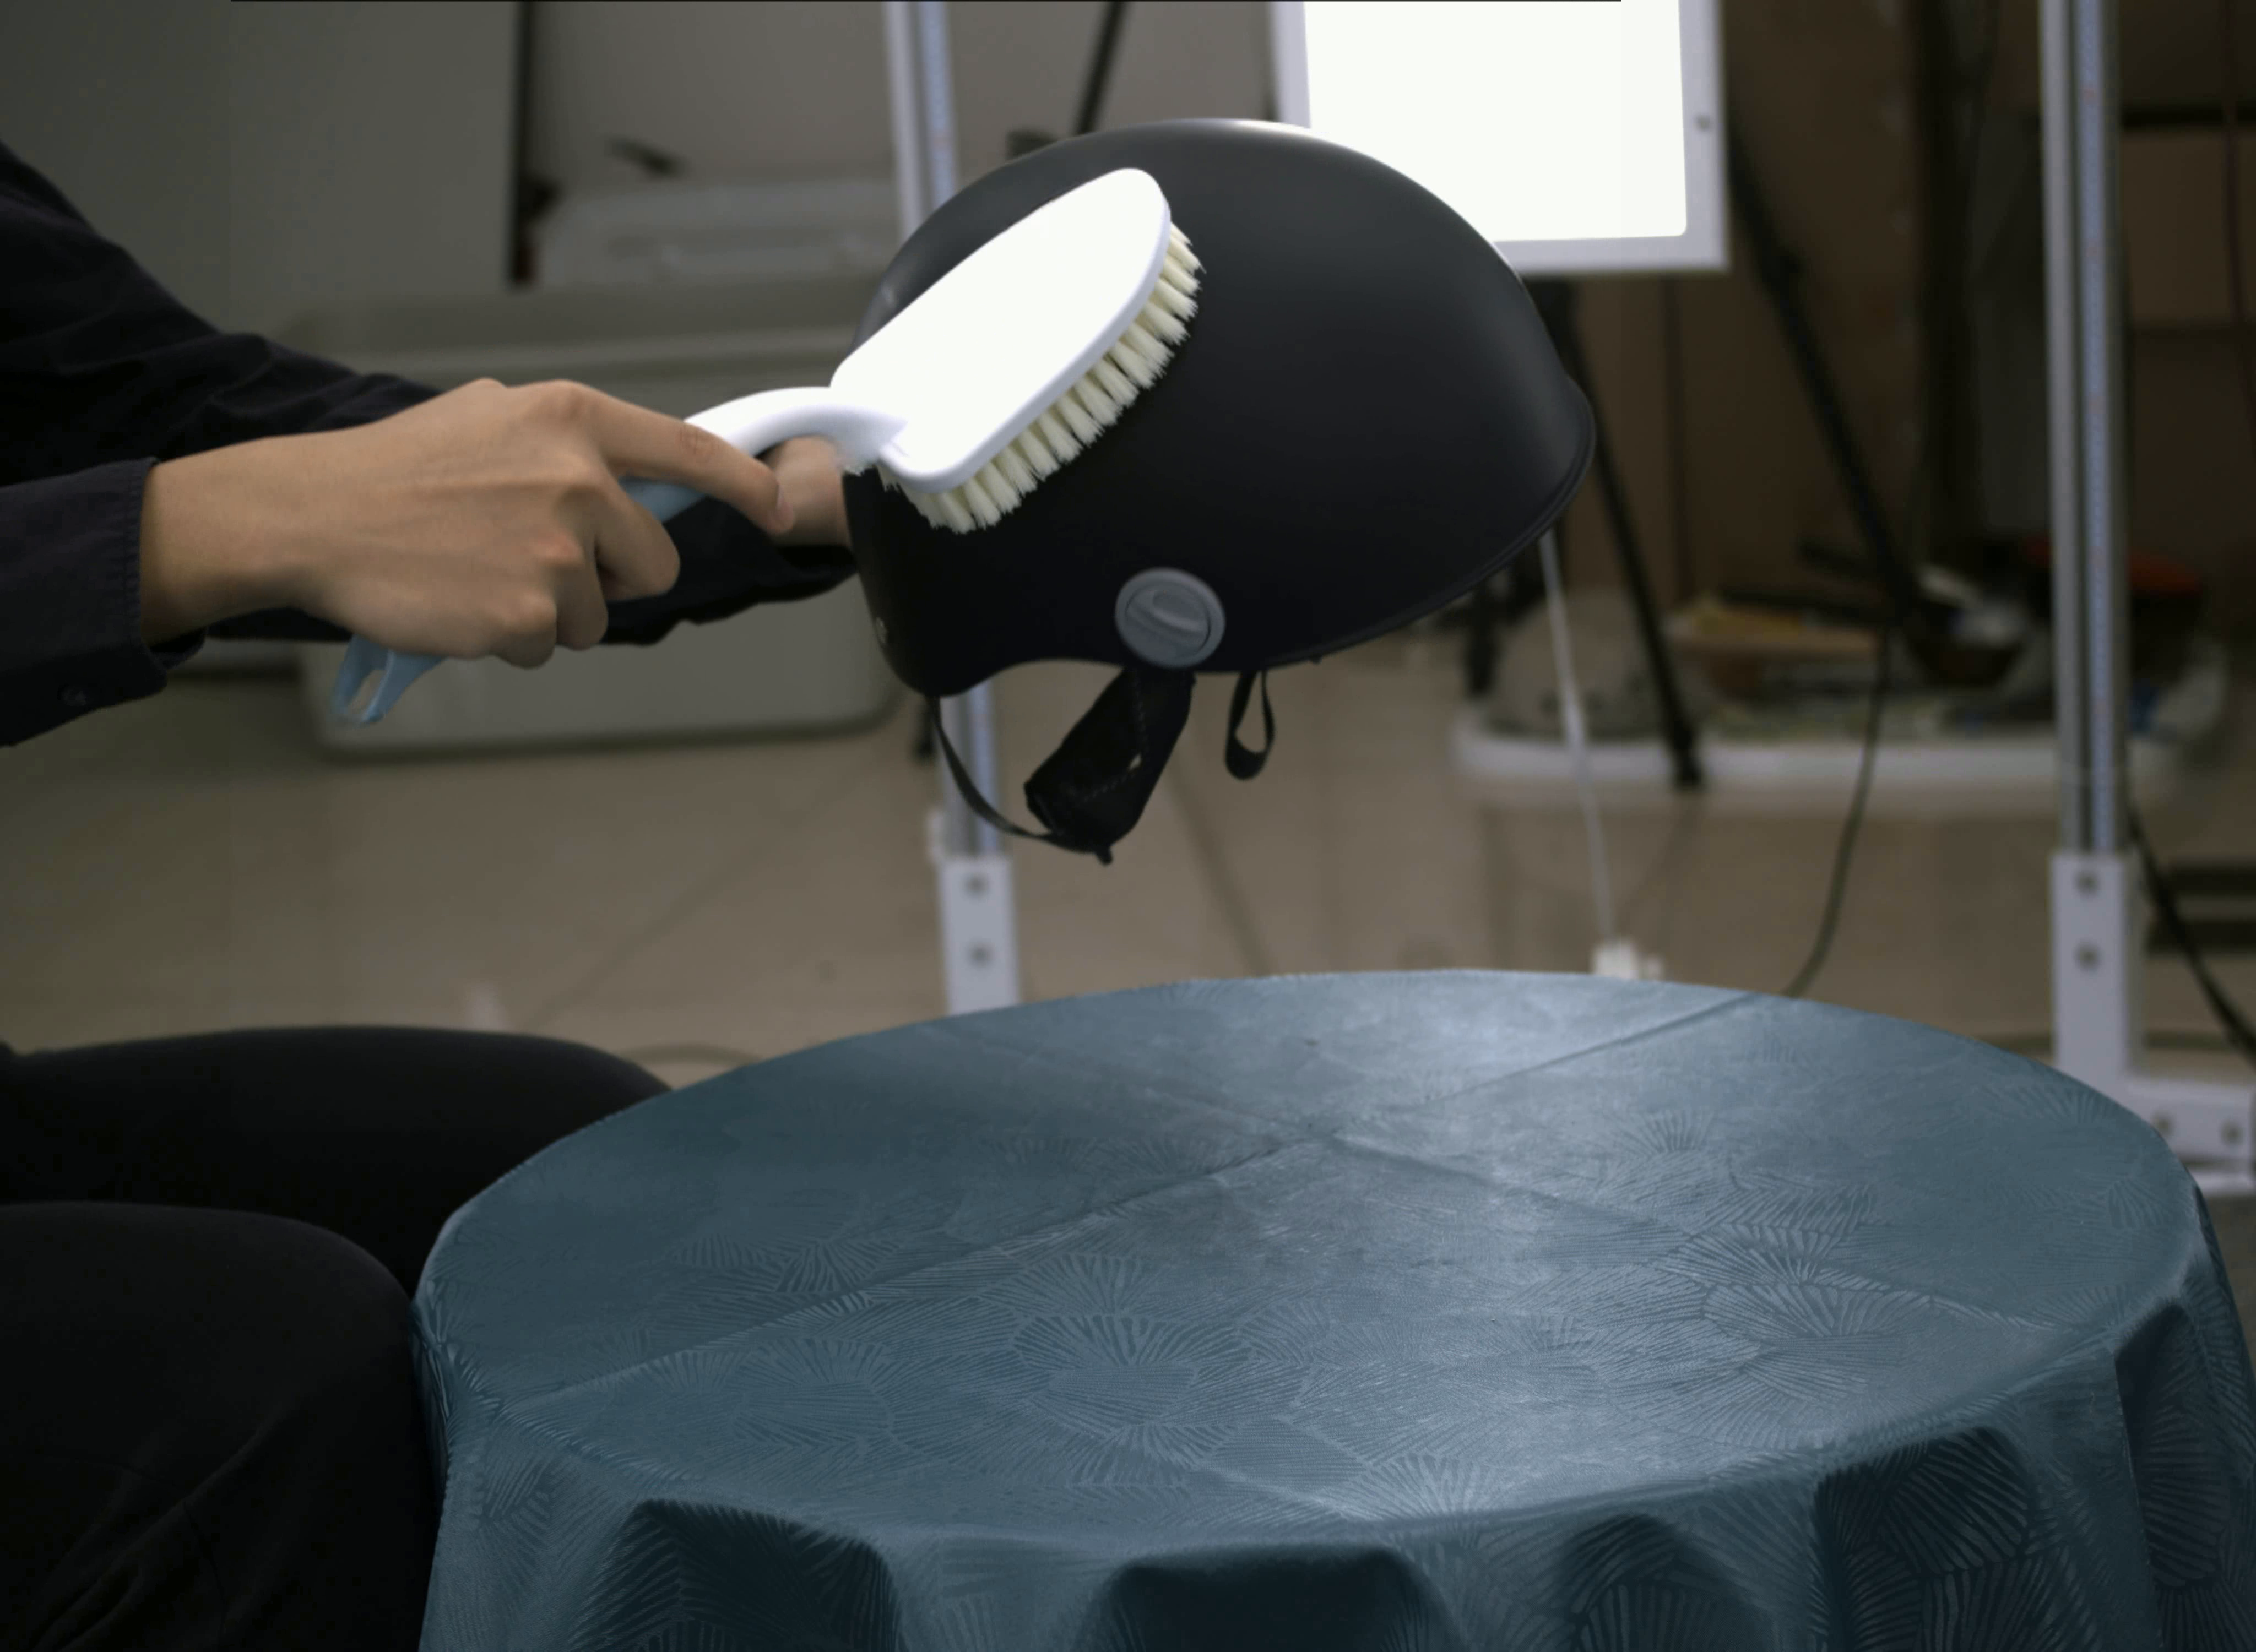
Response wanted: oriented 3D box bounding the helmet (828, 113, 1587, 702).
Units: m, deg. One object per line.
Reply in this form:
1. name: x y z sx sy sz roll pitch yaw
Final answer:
1. helmet: 0.010 -0.158 1.901 0.279 0.166 0.226 -5 36 38

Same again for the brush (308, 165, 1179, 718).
1. brush: -0.119 -0.106 1.771 0.321 0.084 0.084 -33 11 -14
